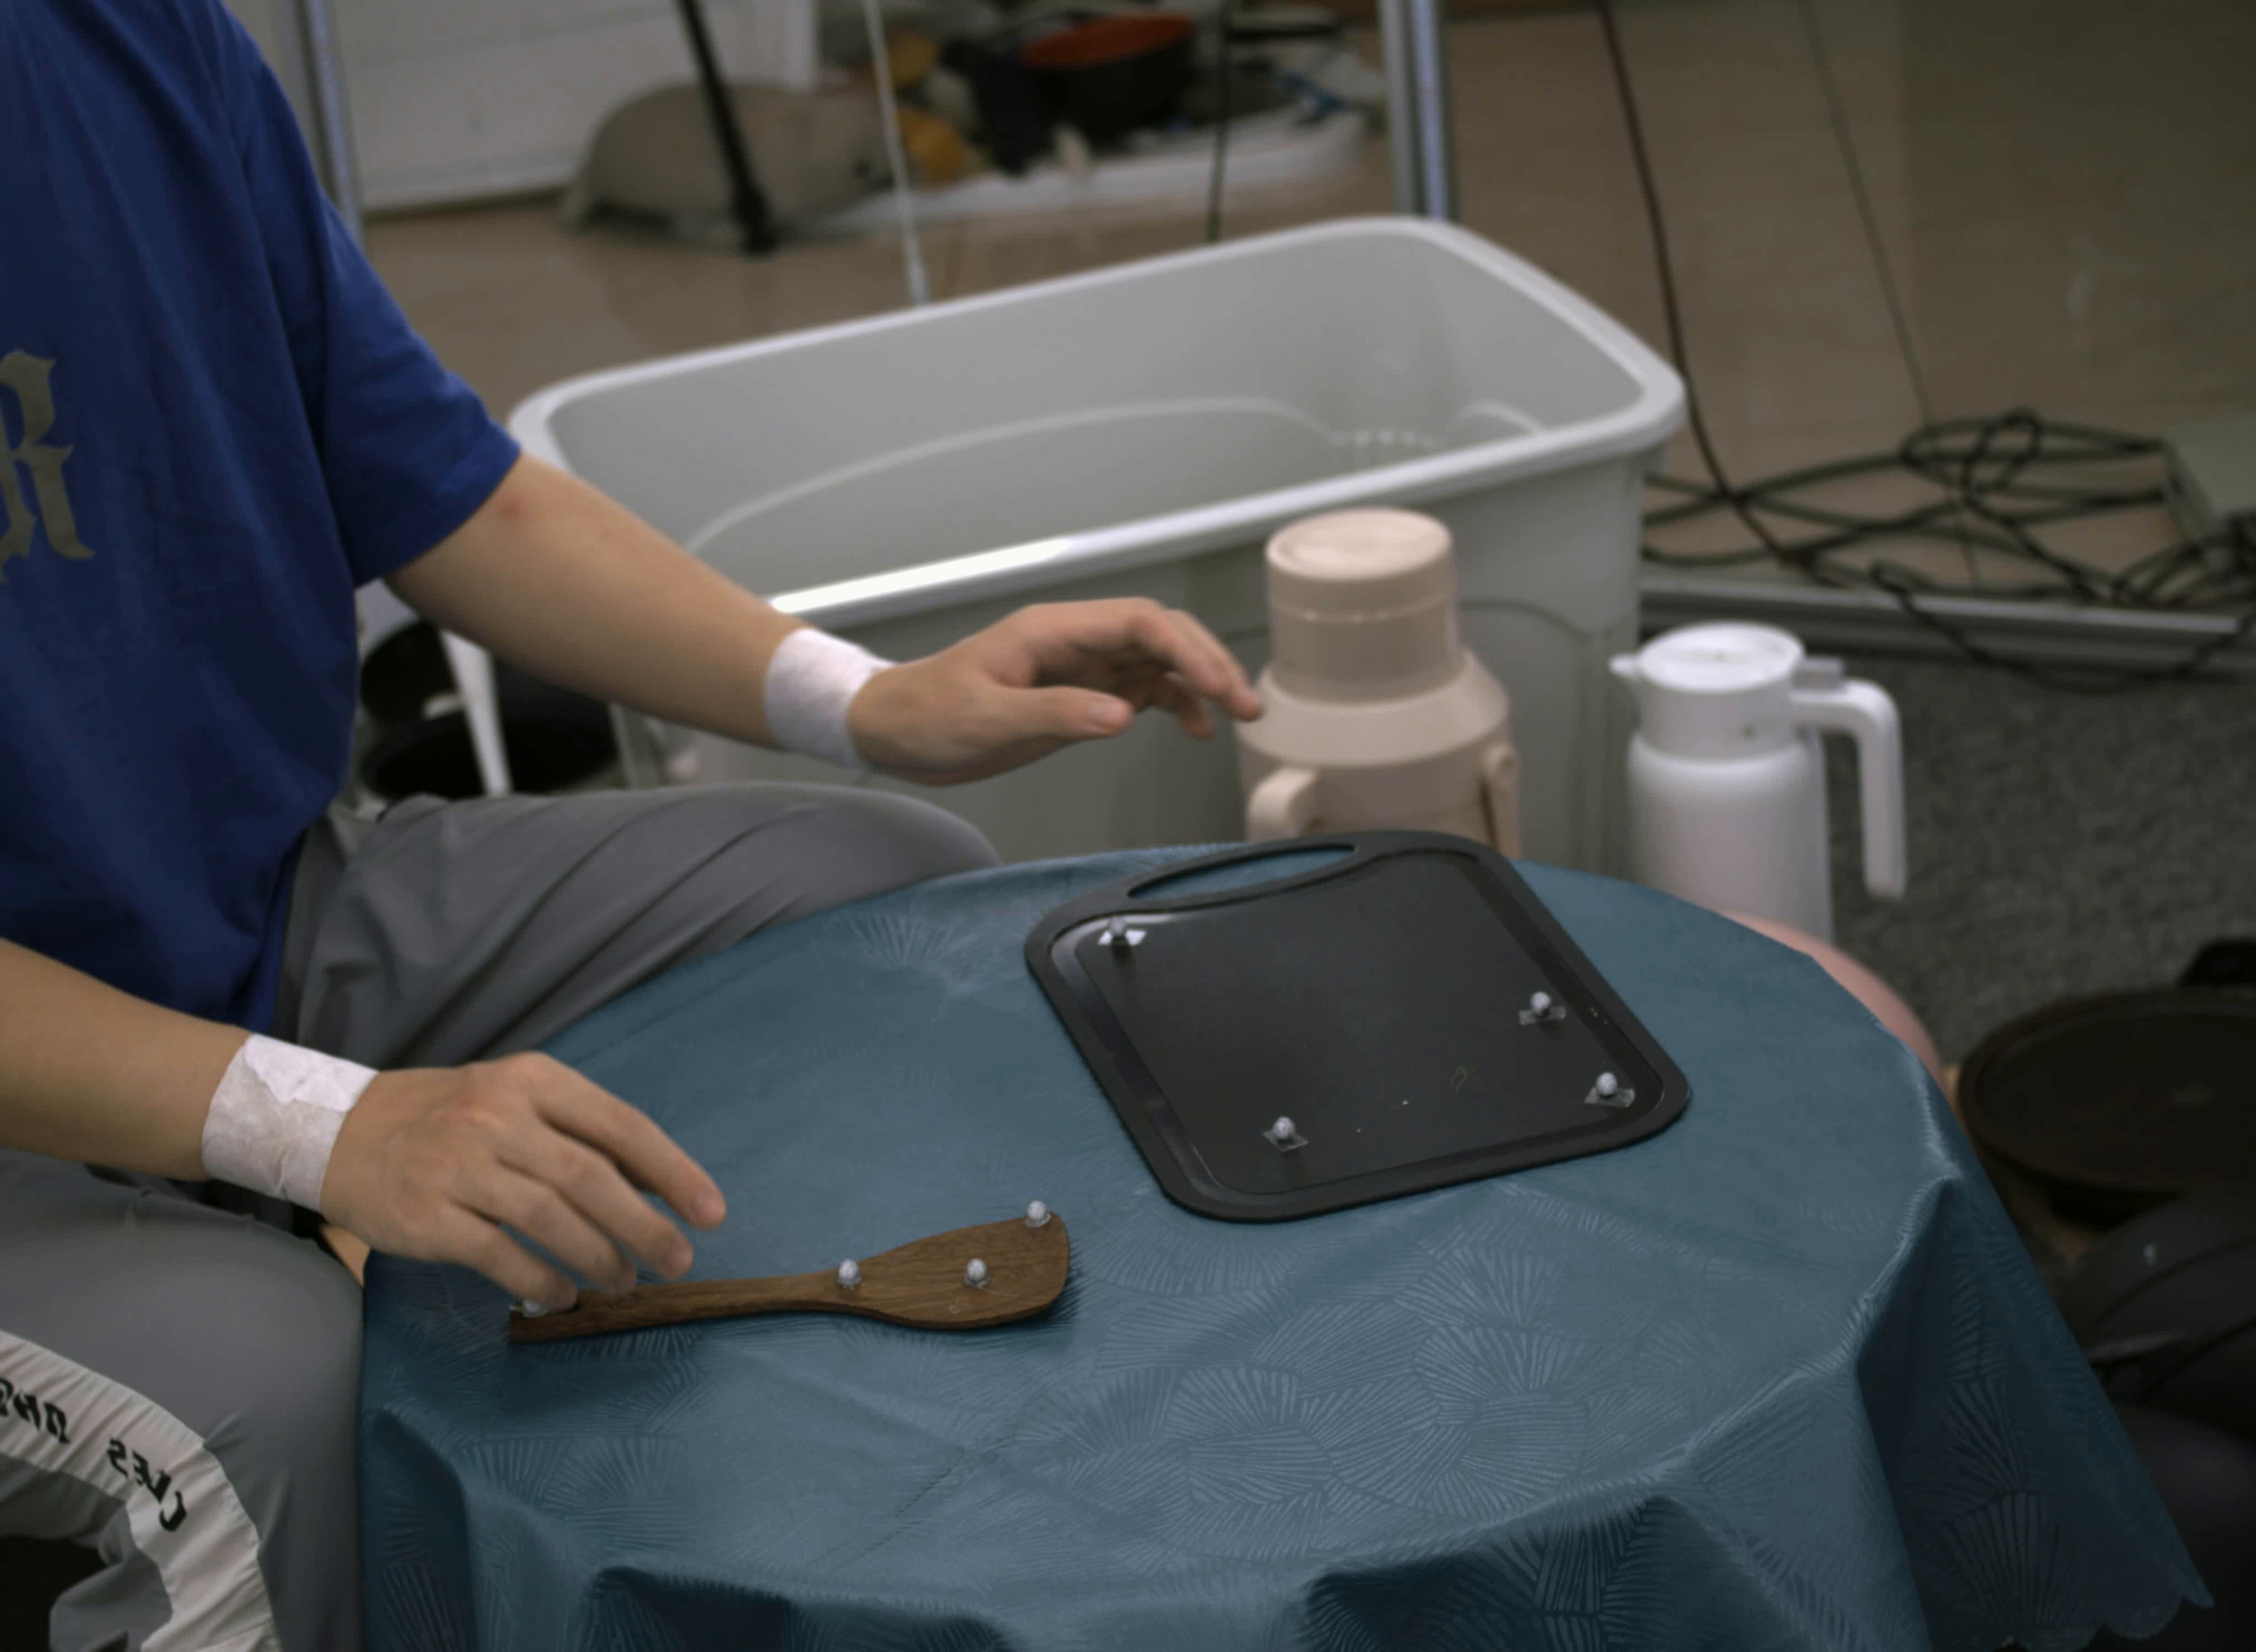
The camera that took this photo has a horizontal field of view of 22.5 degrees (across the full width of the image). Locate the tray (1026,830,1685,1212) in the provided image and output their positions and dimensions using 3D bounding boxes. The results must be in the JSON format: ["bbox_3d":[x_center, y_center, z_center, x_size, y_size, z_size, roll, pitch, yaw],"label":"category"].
[{"bbox_3d":[0.082,0.070,2.267,0.210,0.010,0.321,-12,25,-11],"label":"tray"}]

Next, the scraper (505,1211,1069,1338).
[{"bbox_3d":[-0.126,0.172,2.097,0.211,0.011,0.075,-6,24,3],"label":"scraper"}]
